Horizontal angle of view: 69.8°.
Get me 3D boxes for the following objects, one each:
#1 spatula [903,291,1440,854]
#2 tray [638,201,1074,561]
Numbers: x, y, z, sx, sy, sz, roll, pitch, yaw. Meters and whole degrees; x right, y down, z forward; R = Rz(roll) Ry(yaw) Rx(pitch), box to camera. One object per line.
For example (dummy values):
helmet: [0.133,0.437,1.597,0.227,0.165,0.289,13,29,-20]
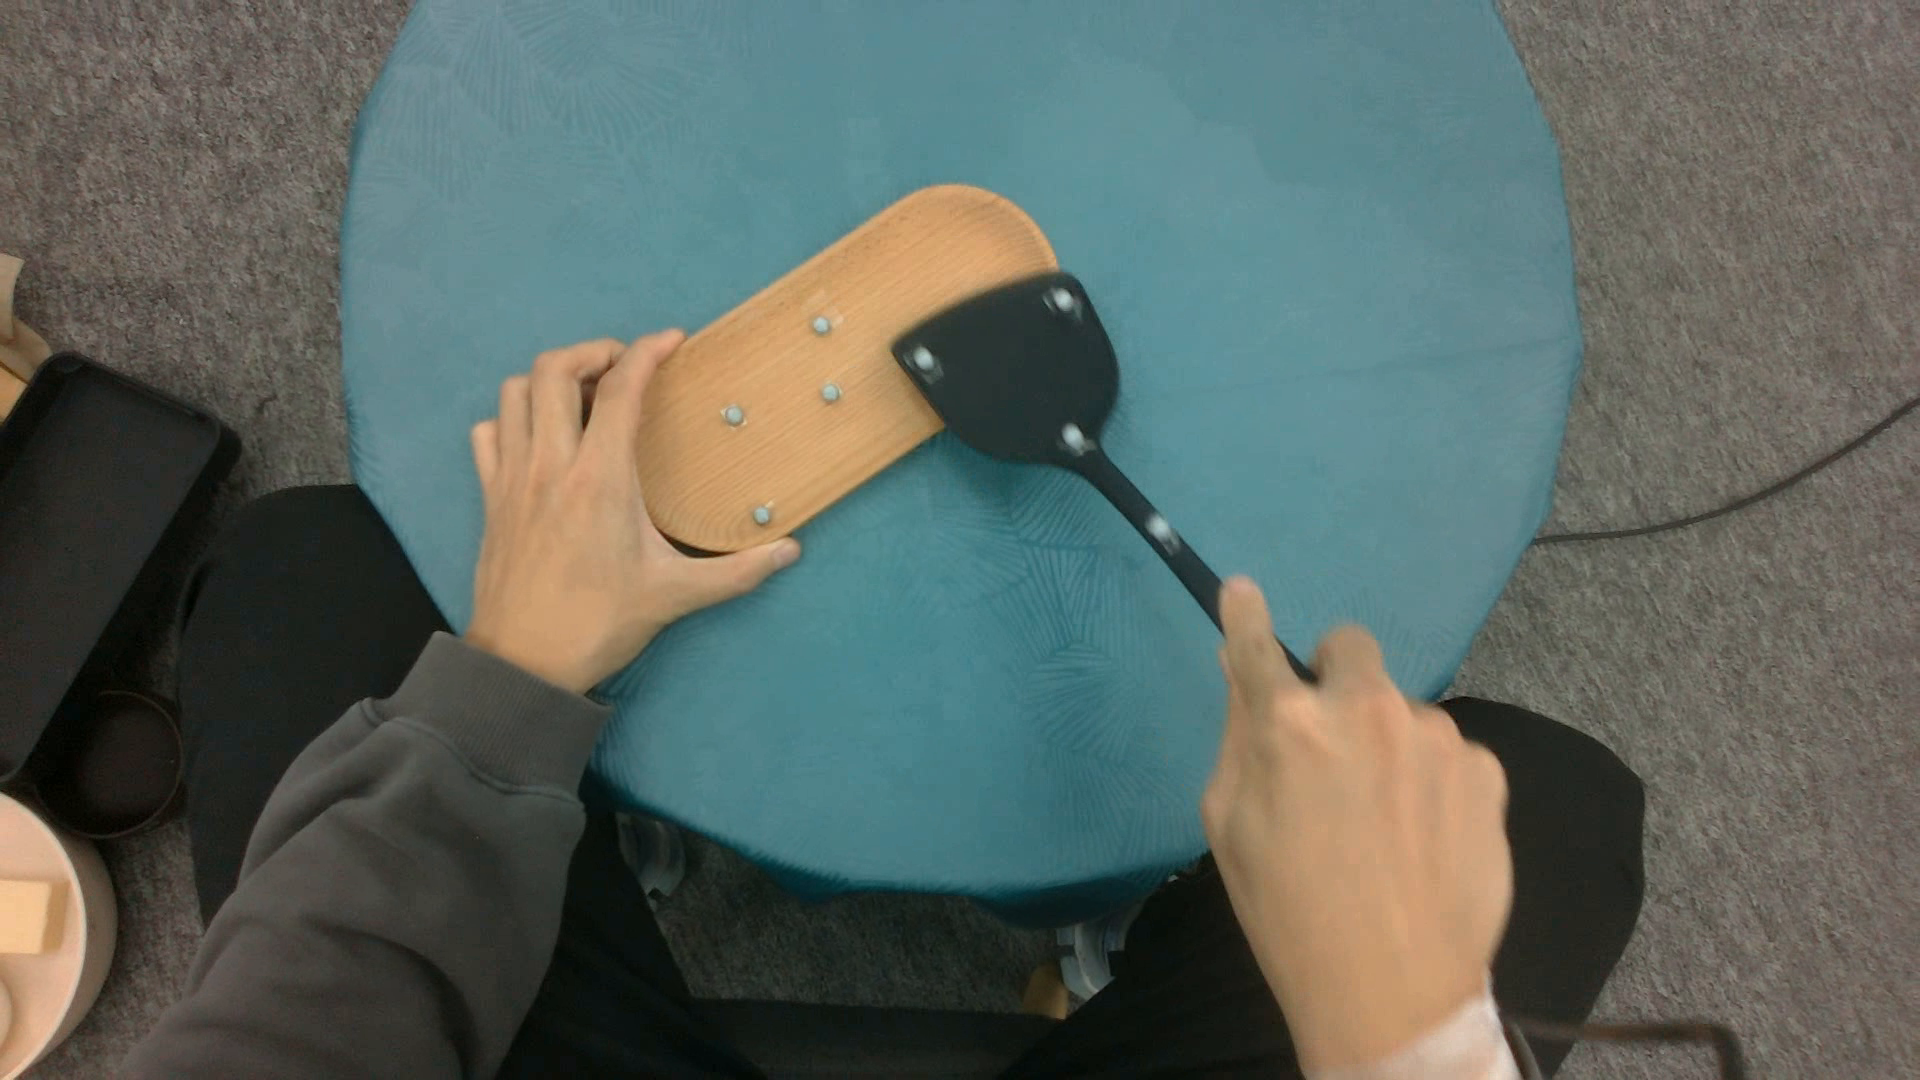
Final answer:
spatula: [0.084,-0.001,0.559,0.100,0.040,0.327,-25,44,-12]
tray: [-0.048,-0.077,0.663,0.231,0.020,0.102,-35,86,-9]
